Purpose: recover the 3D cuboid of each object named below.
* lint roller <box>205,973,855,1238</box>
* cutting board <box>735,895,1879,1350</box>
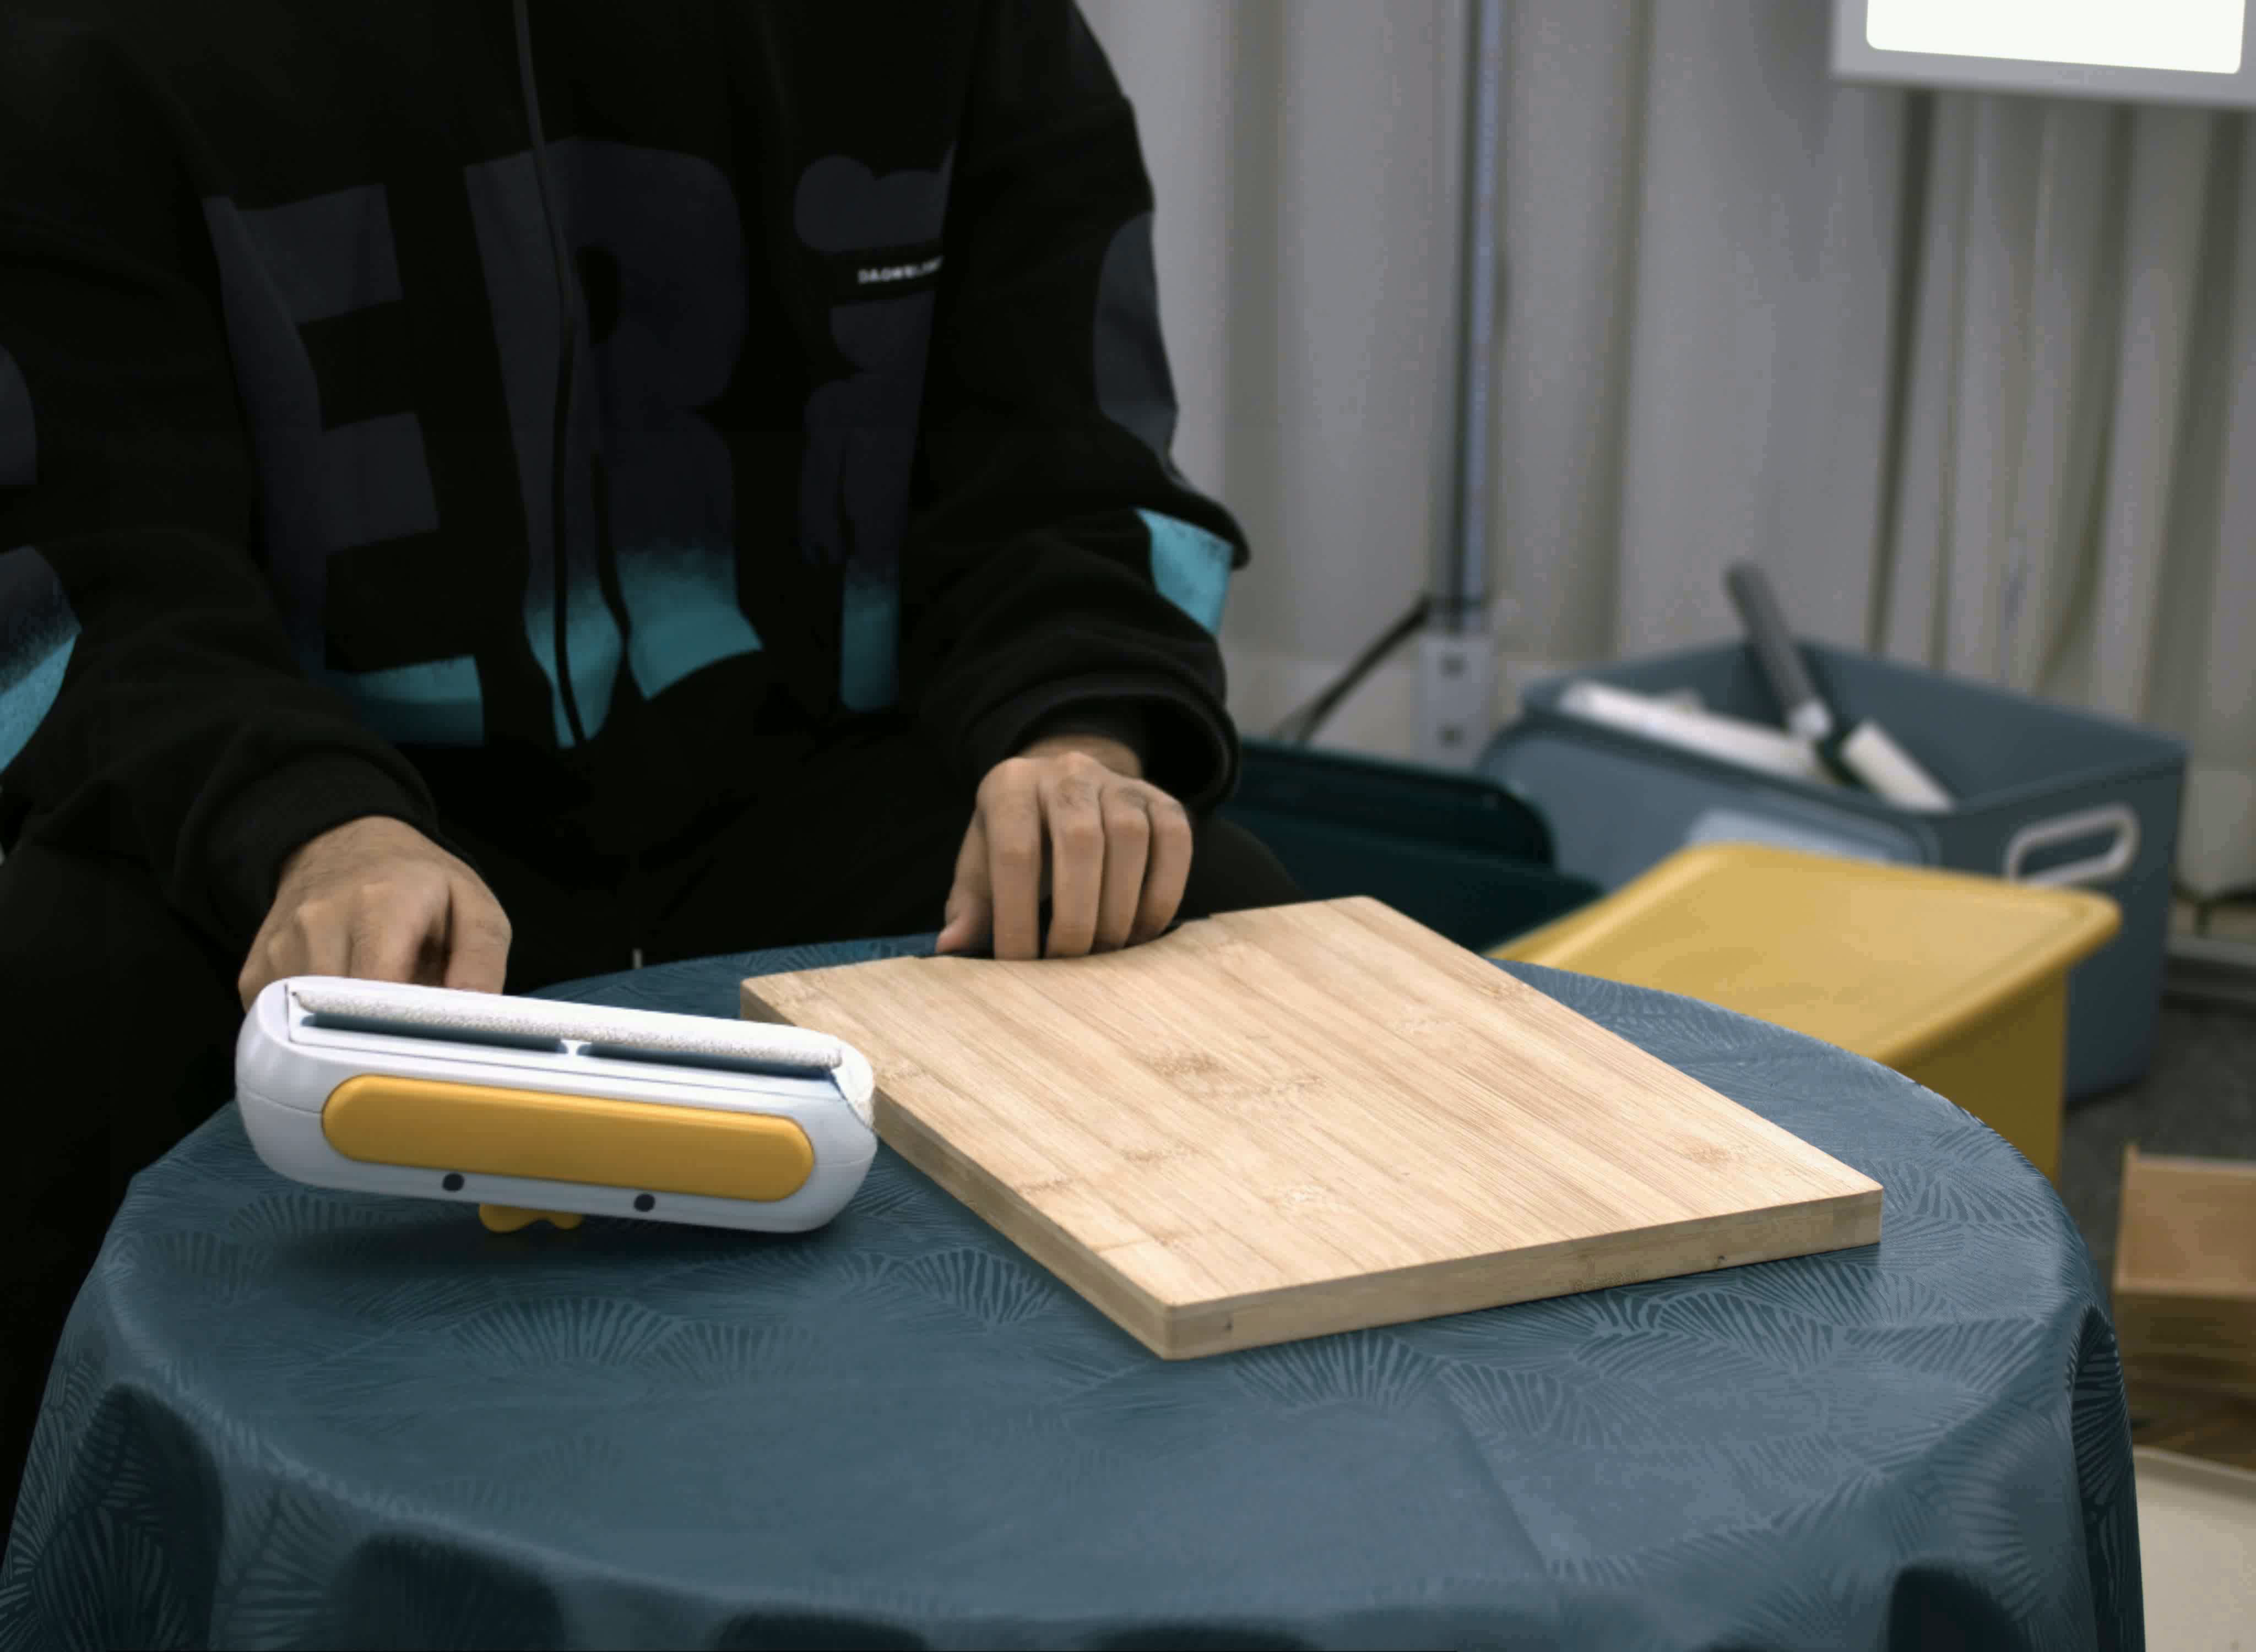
[{"bbox_3d":[-0.185,0.075,1.621,0.193,0.075,0.191,3,13,-9],"label":"lint roller"},{"bbox_3d":[0.046,0.088,1.680,0.251,0.024,0.344,-7,17,-25],"label":"cutting board"}]
